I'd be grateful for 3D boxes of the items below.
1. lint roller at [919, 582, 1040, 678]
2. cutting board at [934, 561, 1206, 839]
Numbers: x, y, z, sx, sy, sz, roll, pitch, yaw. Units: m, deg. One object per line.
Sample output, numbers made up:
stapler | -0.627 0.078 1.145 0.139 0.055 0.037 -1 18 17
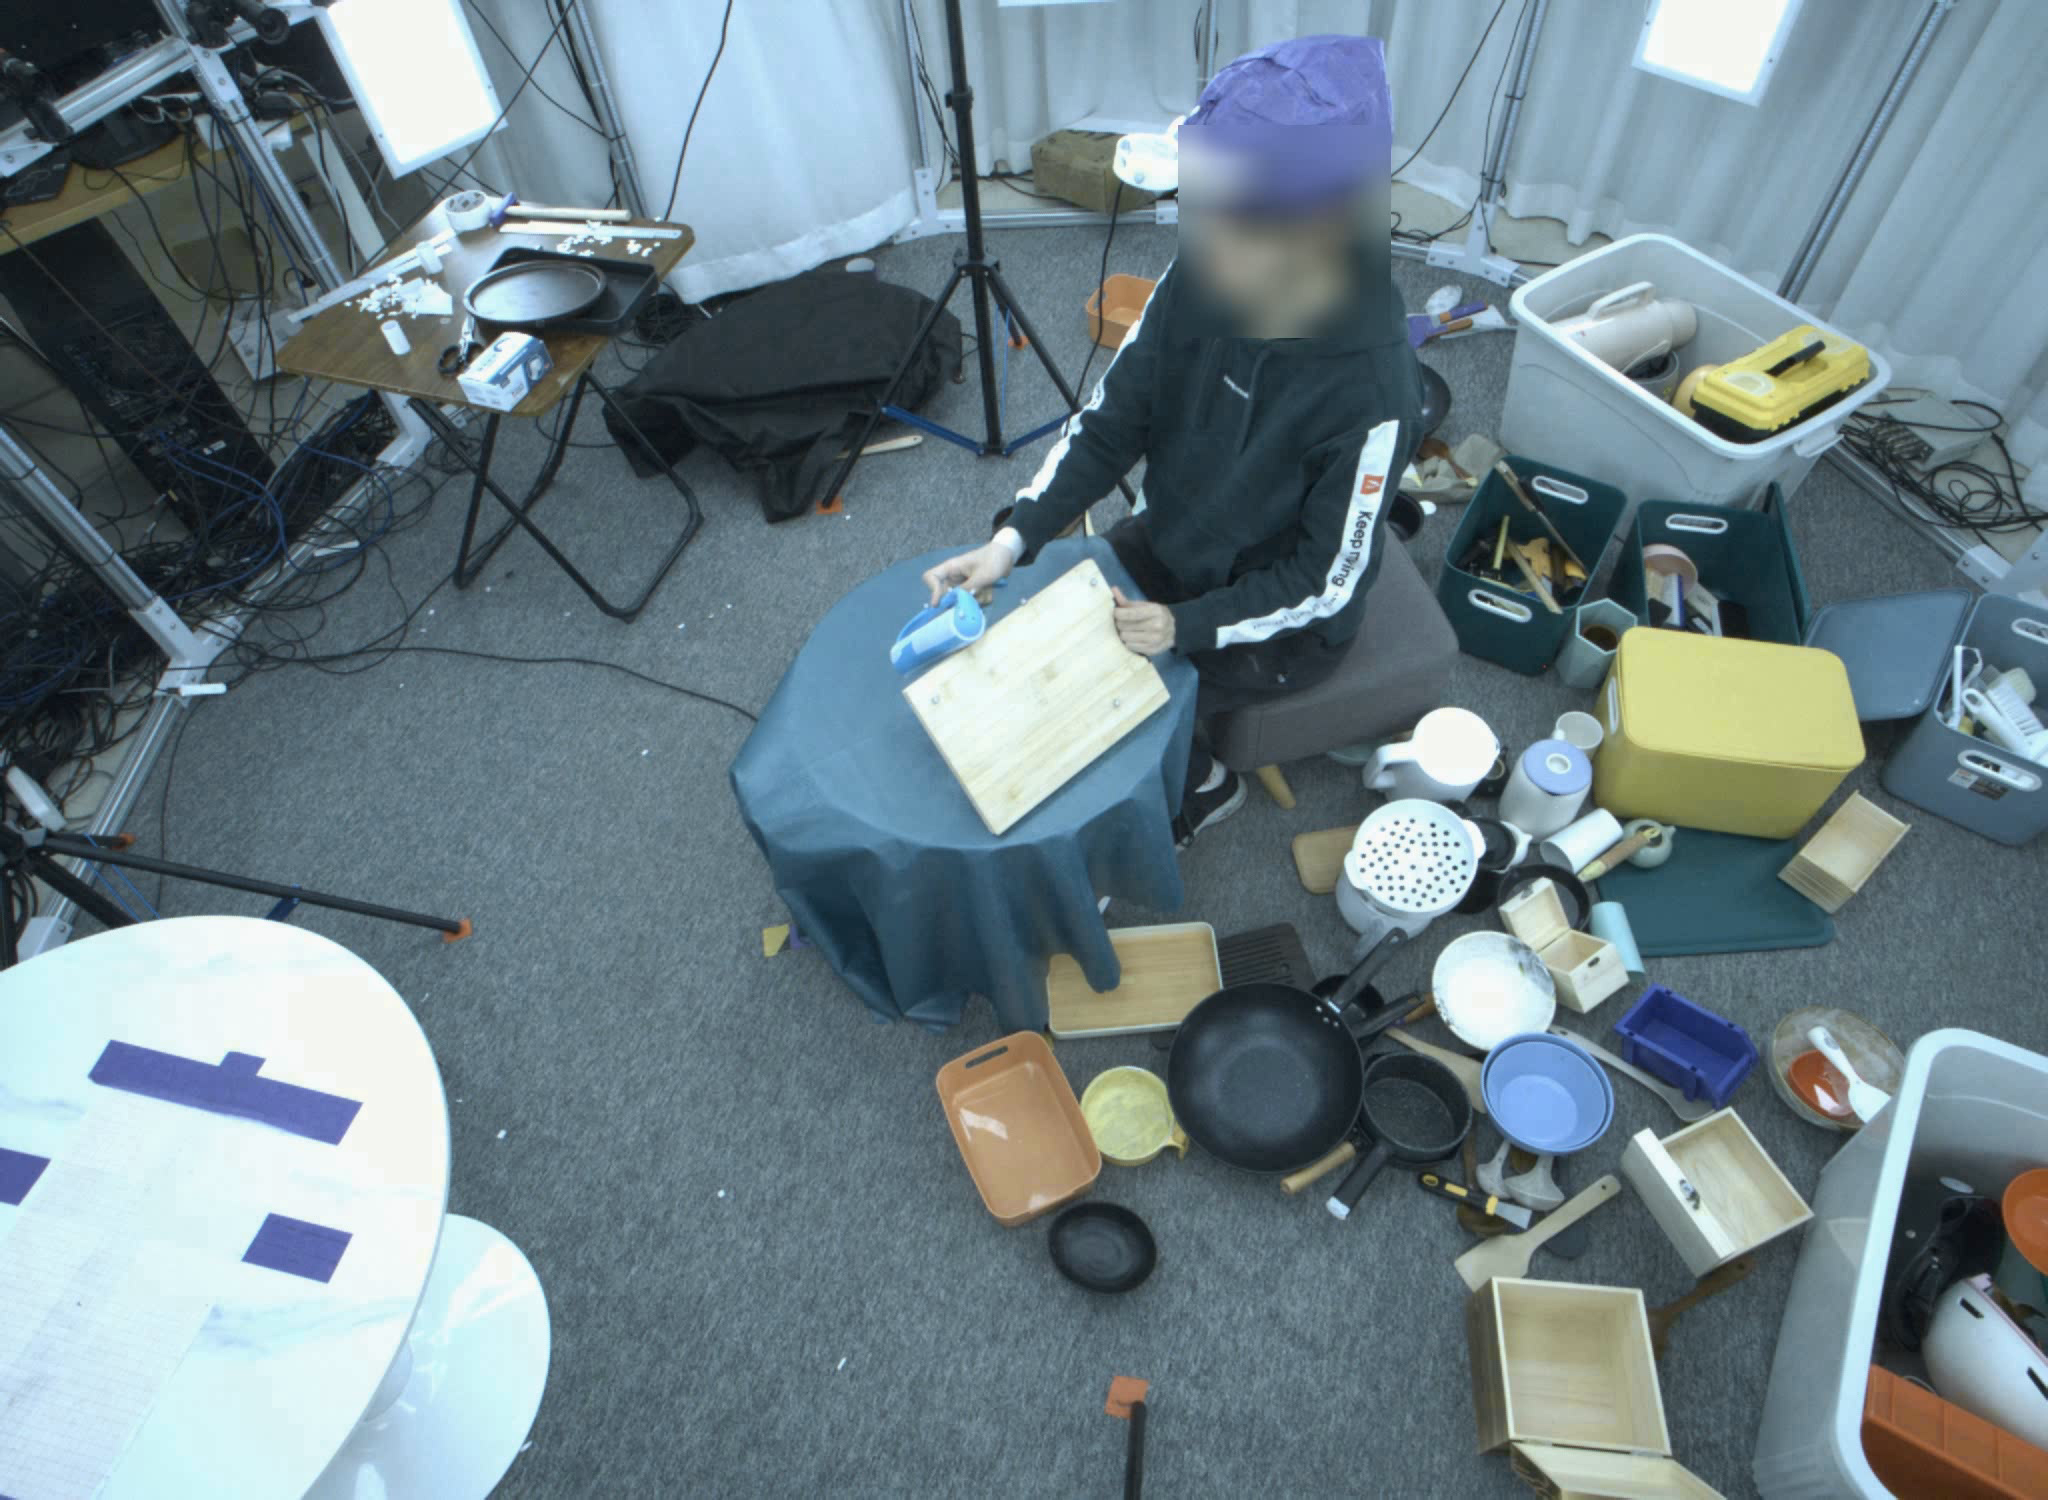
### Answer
lint roller | -0.051 -0.190 1.718 0.068 0.225 0.181 45 60 -14
cutting board | 0.070 -0.073 1.712 0.351 0.254 0.023 -37 19 -19
